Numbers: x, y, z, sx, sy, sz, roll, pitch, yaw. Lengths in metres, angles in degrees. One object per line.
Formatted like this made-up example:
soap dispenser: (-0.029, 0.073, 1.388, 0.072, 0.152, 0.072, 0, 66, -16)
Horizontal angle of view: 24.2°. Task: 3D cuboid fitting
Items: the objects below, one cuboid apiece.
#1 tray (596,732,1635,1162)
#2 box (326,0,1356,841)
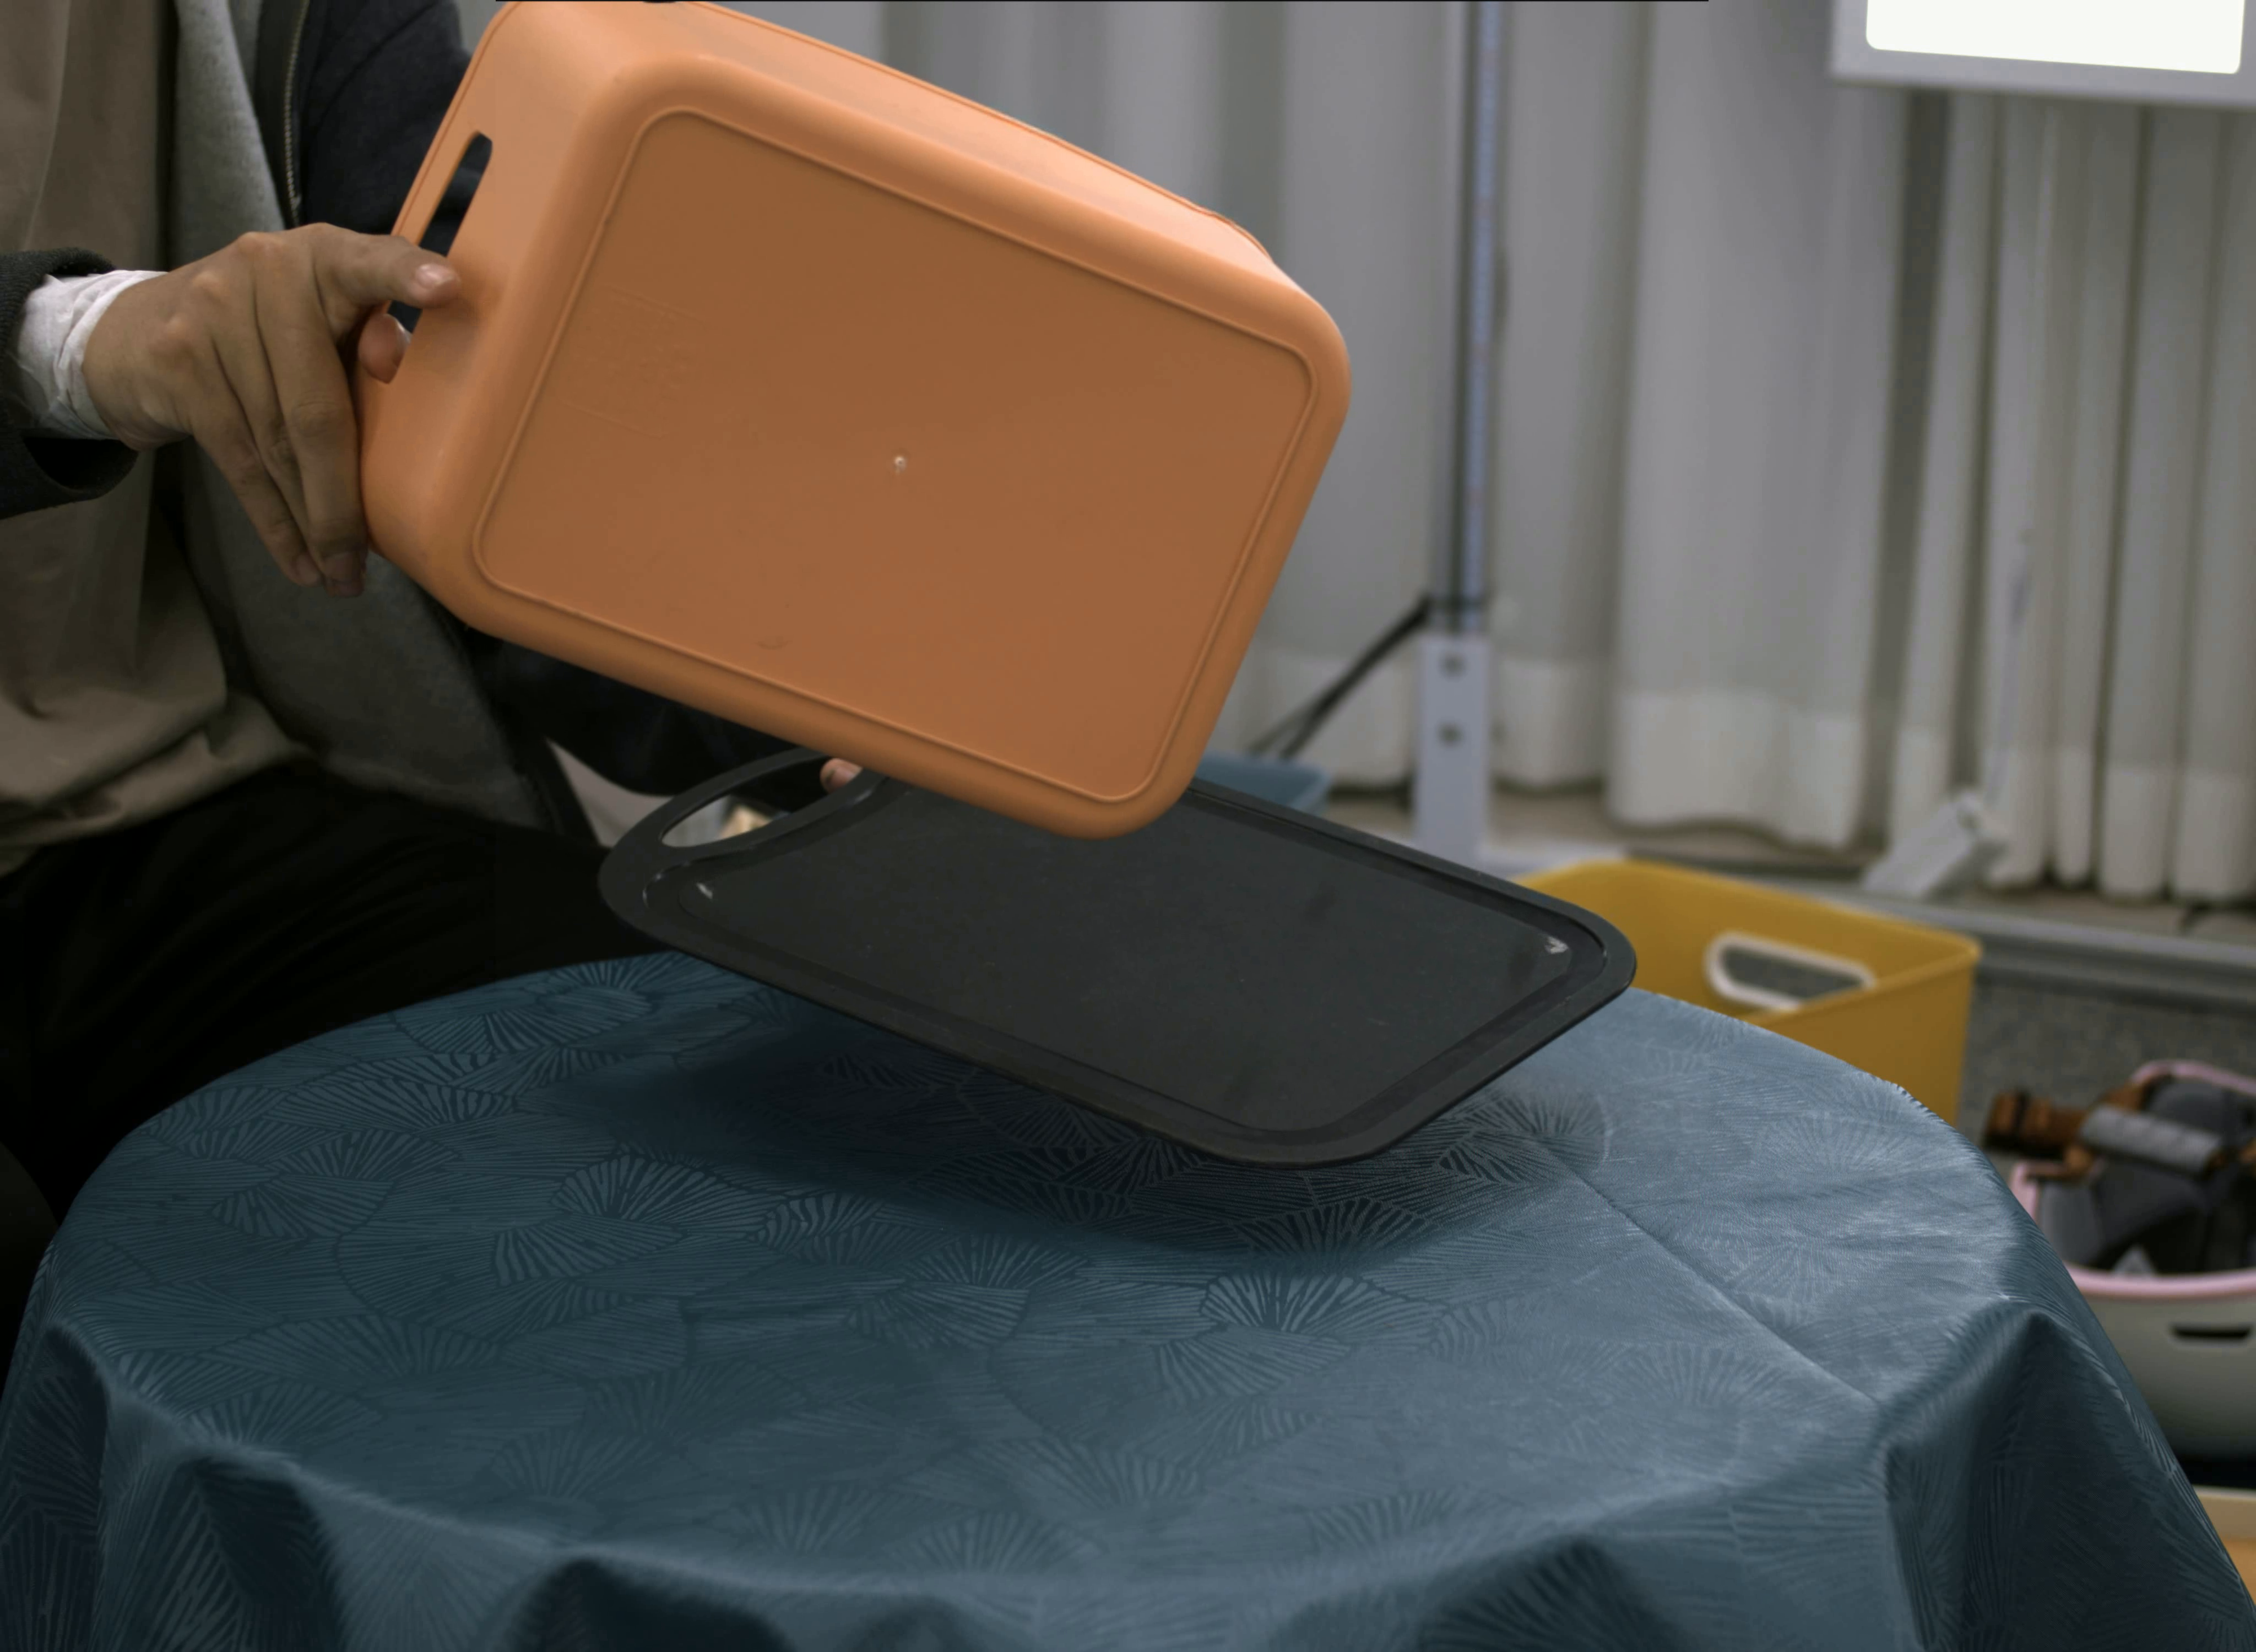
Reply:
tray: (-0.012, 0.028, 1.696, 0.321, 0.010, 0.211, 19, 30, 31)
box: (-0.078, -0.116, 1.518, 0.275, 0.200, 0.101, 20, 9, -23)
